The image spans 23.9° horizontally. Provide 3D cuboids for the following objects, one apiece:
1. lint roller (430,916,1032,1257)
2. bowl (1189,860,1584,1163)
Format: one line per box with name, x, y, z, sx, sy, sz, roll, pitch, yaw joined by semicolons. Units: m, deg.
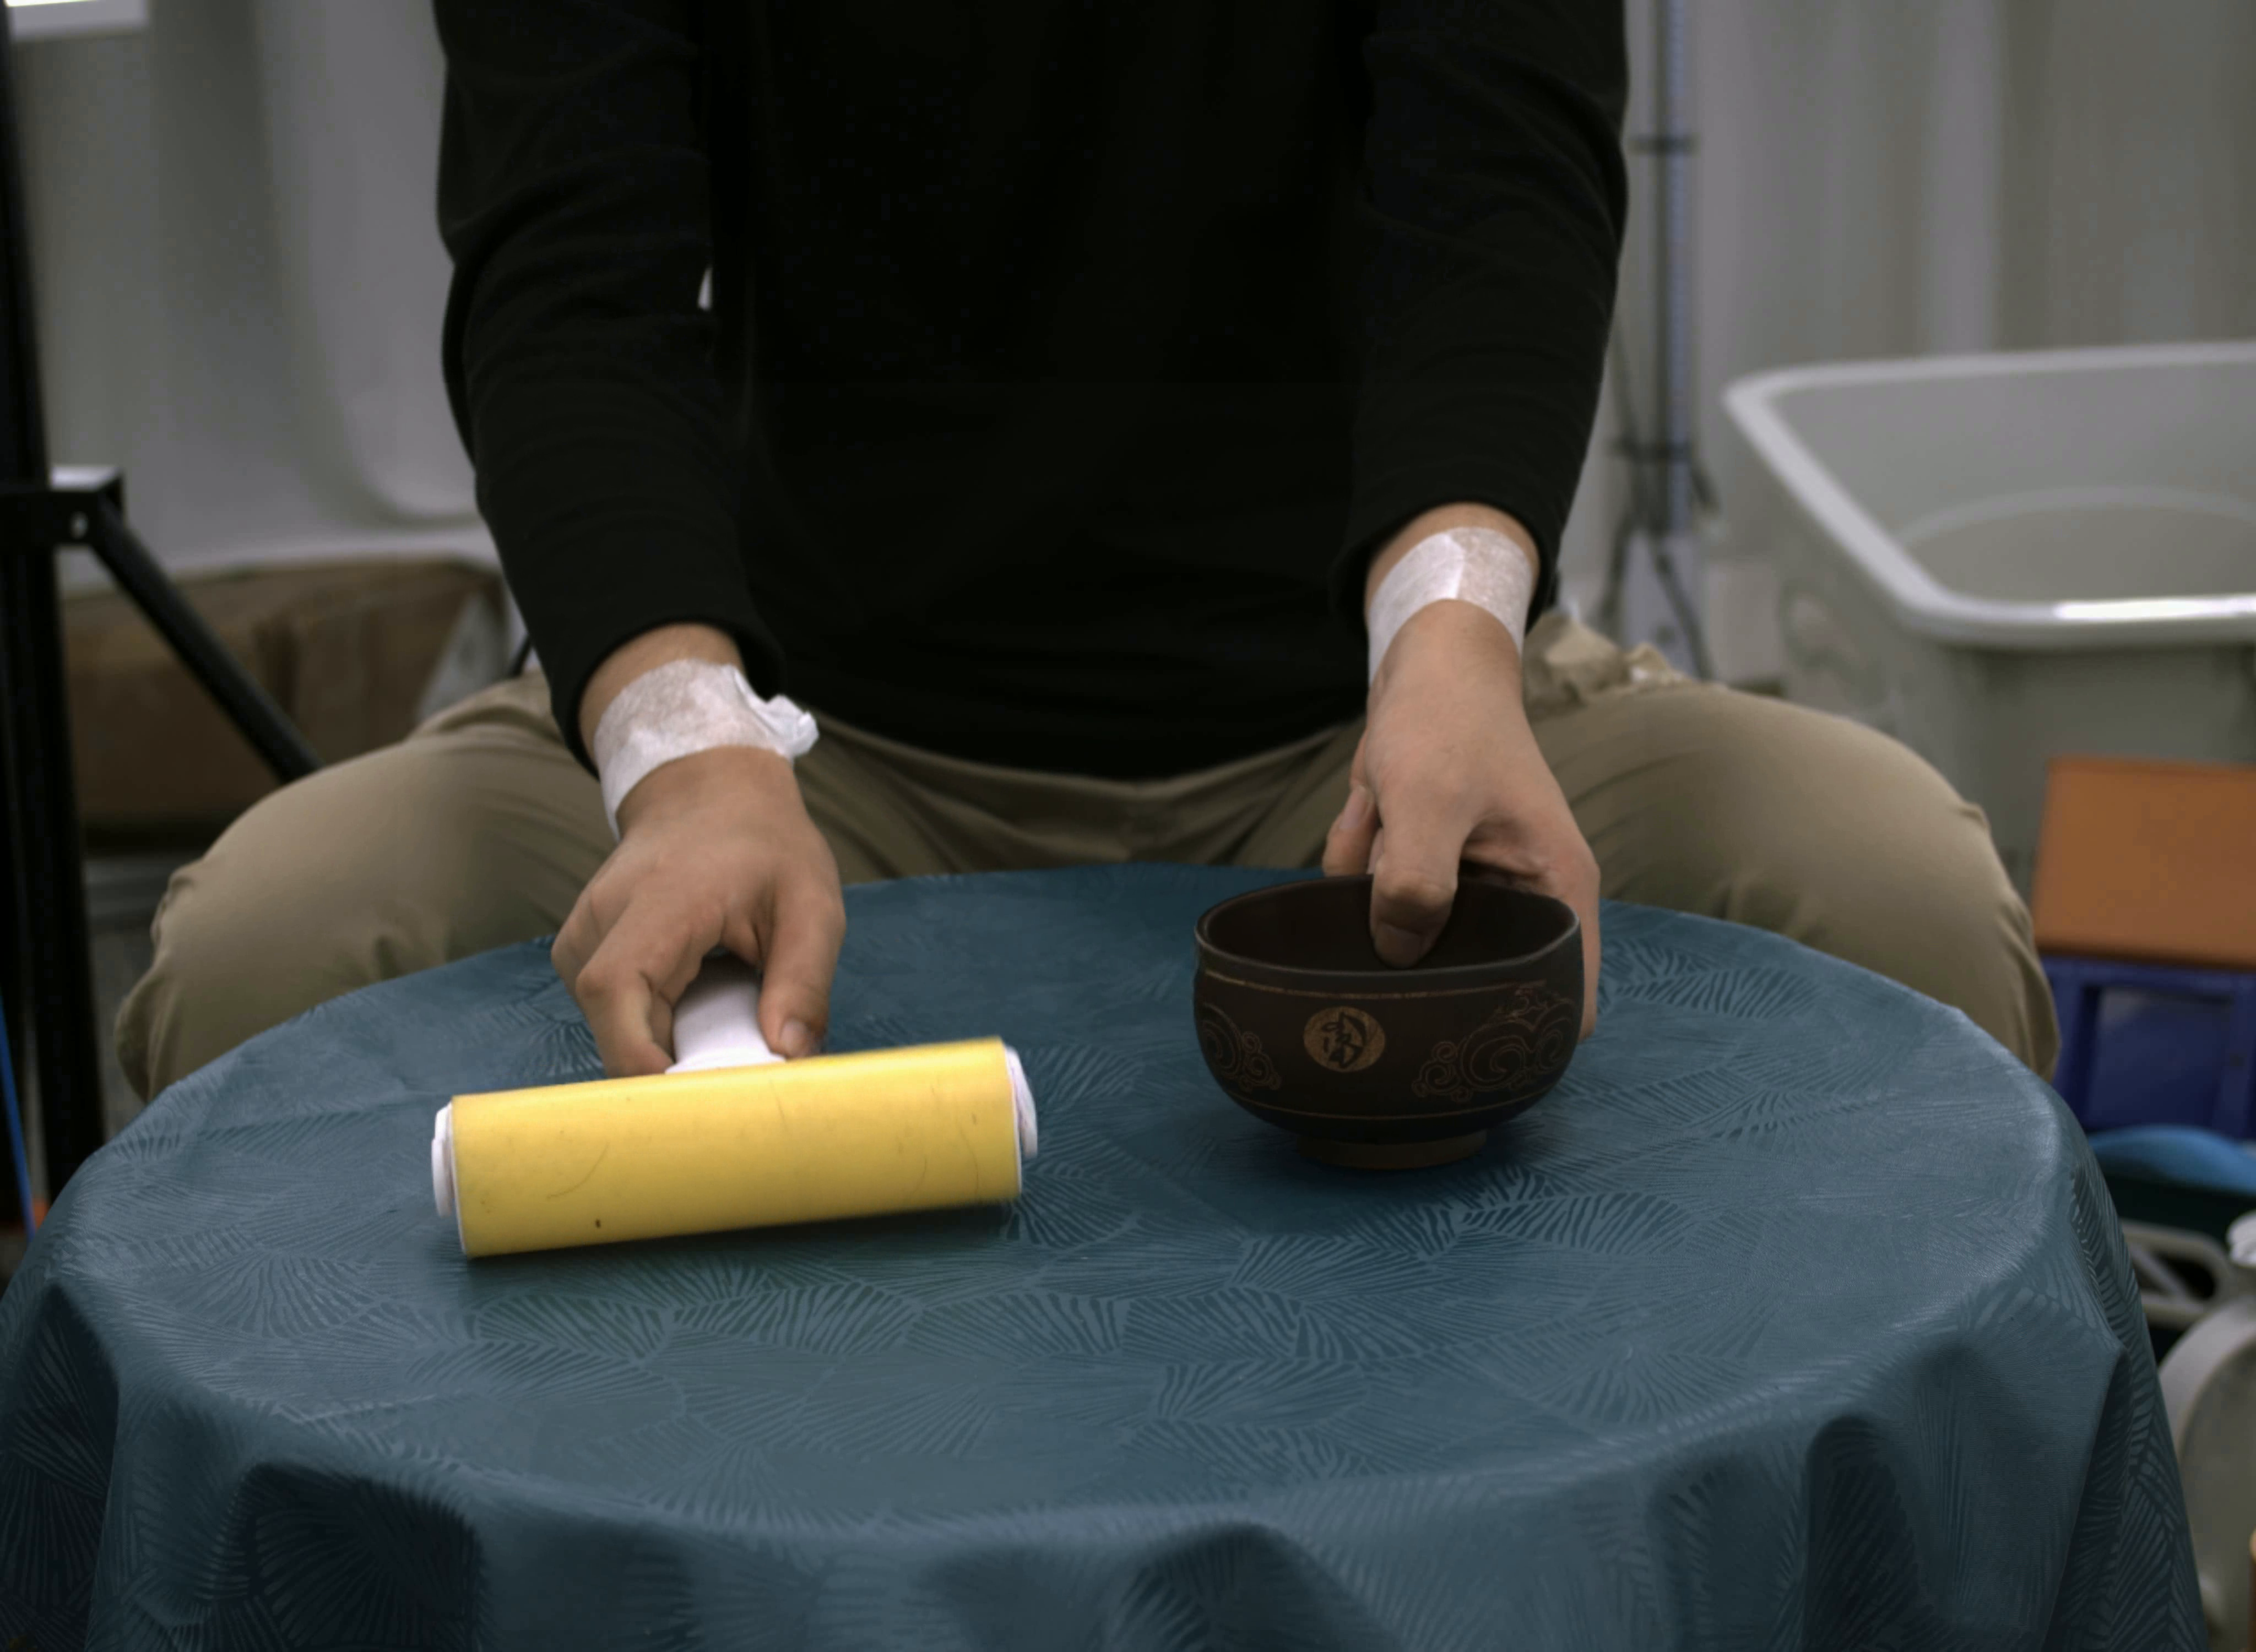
lint roller;-0.125;0.060;1.597;0.173;0.051;0.194;-8;29;-5
bowl;0.077;0.059;1.579;0.117;0.070;0.118;-1;15;-1
